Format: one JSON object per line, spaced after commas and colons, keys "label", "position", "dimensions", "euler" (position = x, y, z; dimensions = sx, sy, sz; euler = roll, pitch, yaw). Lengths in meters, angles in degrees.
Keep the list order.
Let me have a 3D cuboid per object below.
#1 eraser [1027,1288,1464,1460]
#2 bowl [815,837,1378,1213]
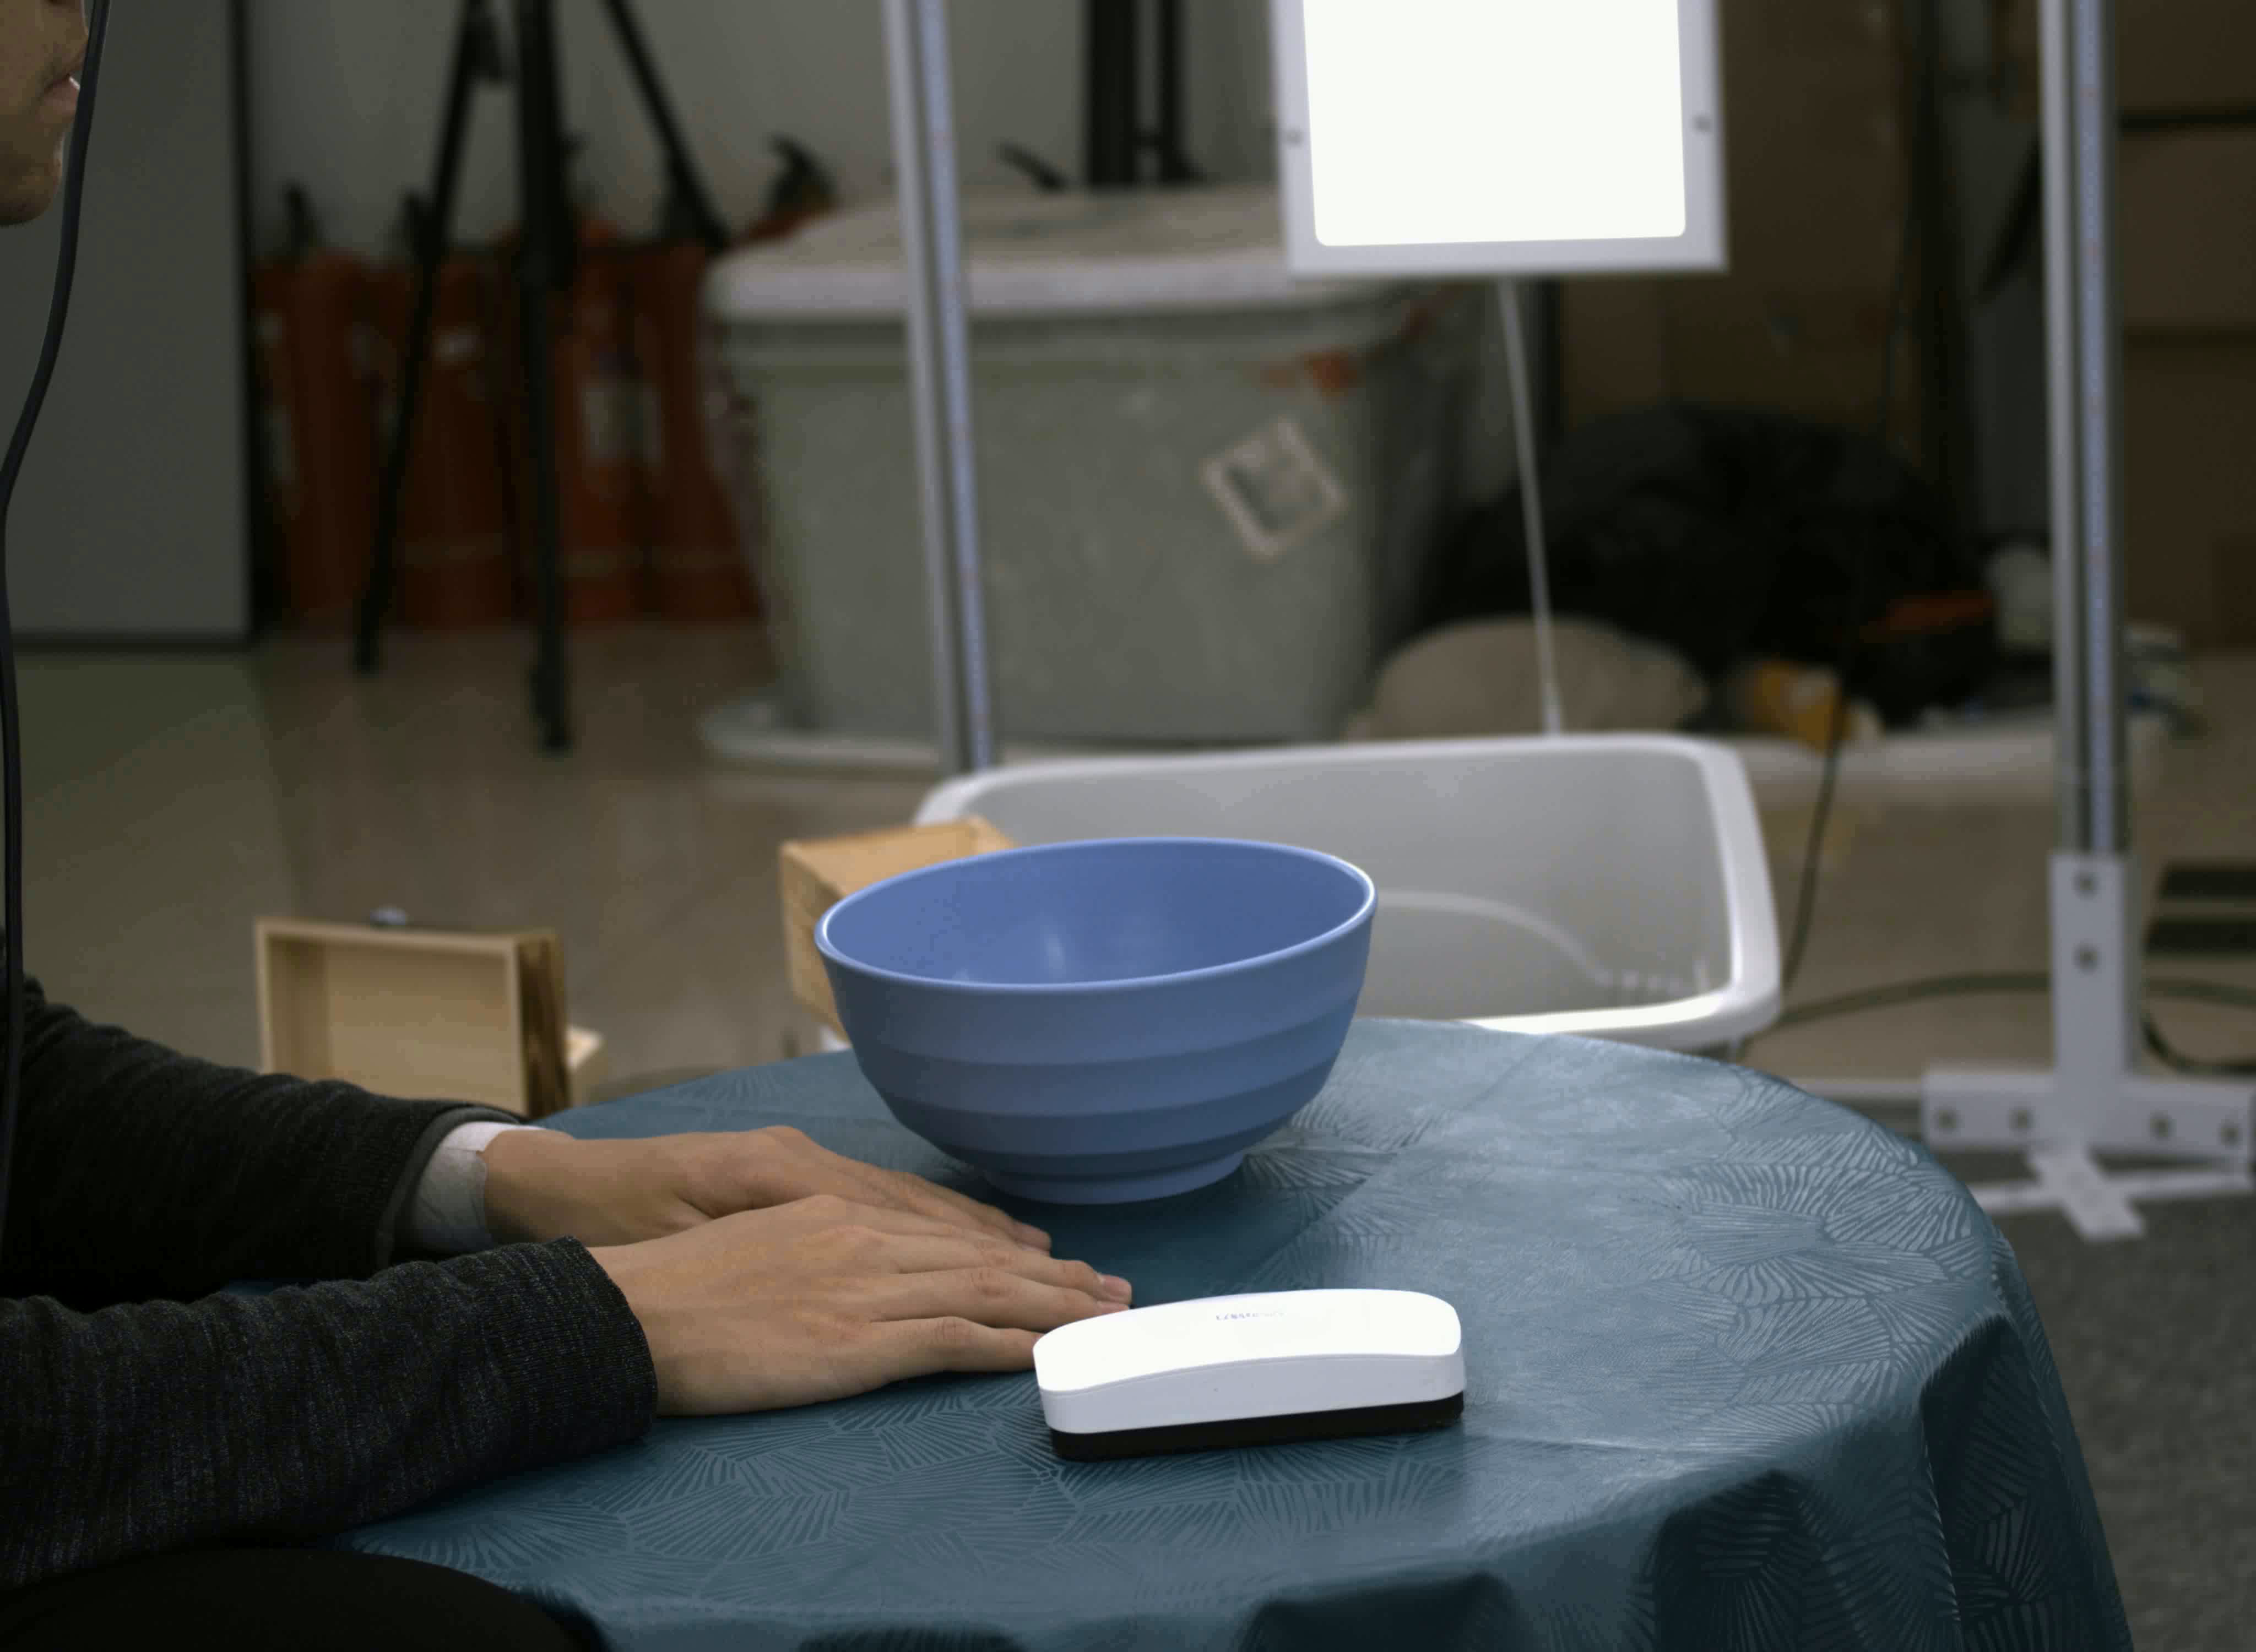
{"label": "eraser", "position": [0.036, 0.164, 1.666], "dimensions": [0.131, 0.034, 0.063], "euler": [-4, 13, 0]}
{"label": "bowl", "position": [-0.008, 0.075, 1.918], "dimensions": [0.196, 0.096, 0.196], "euler": [-5, 15, 0]}
